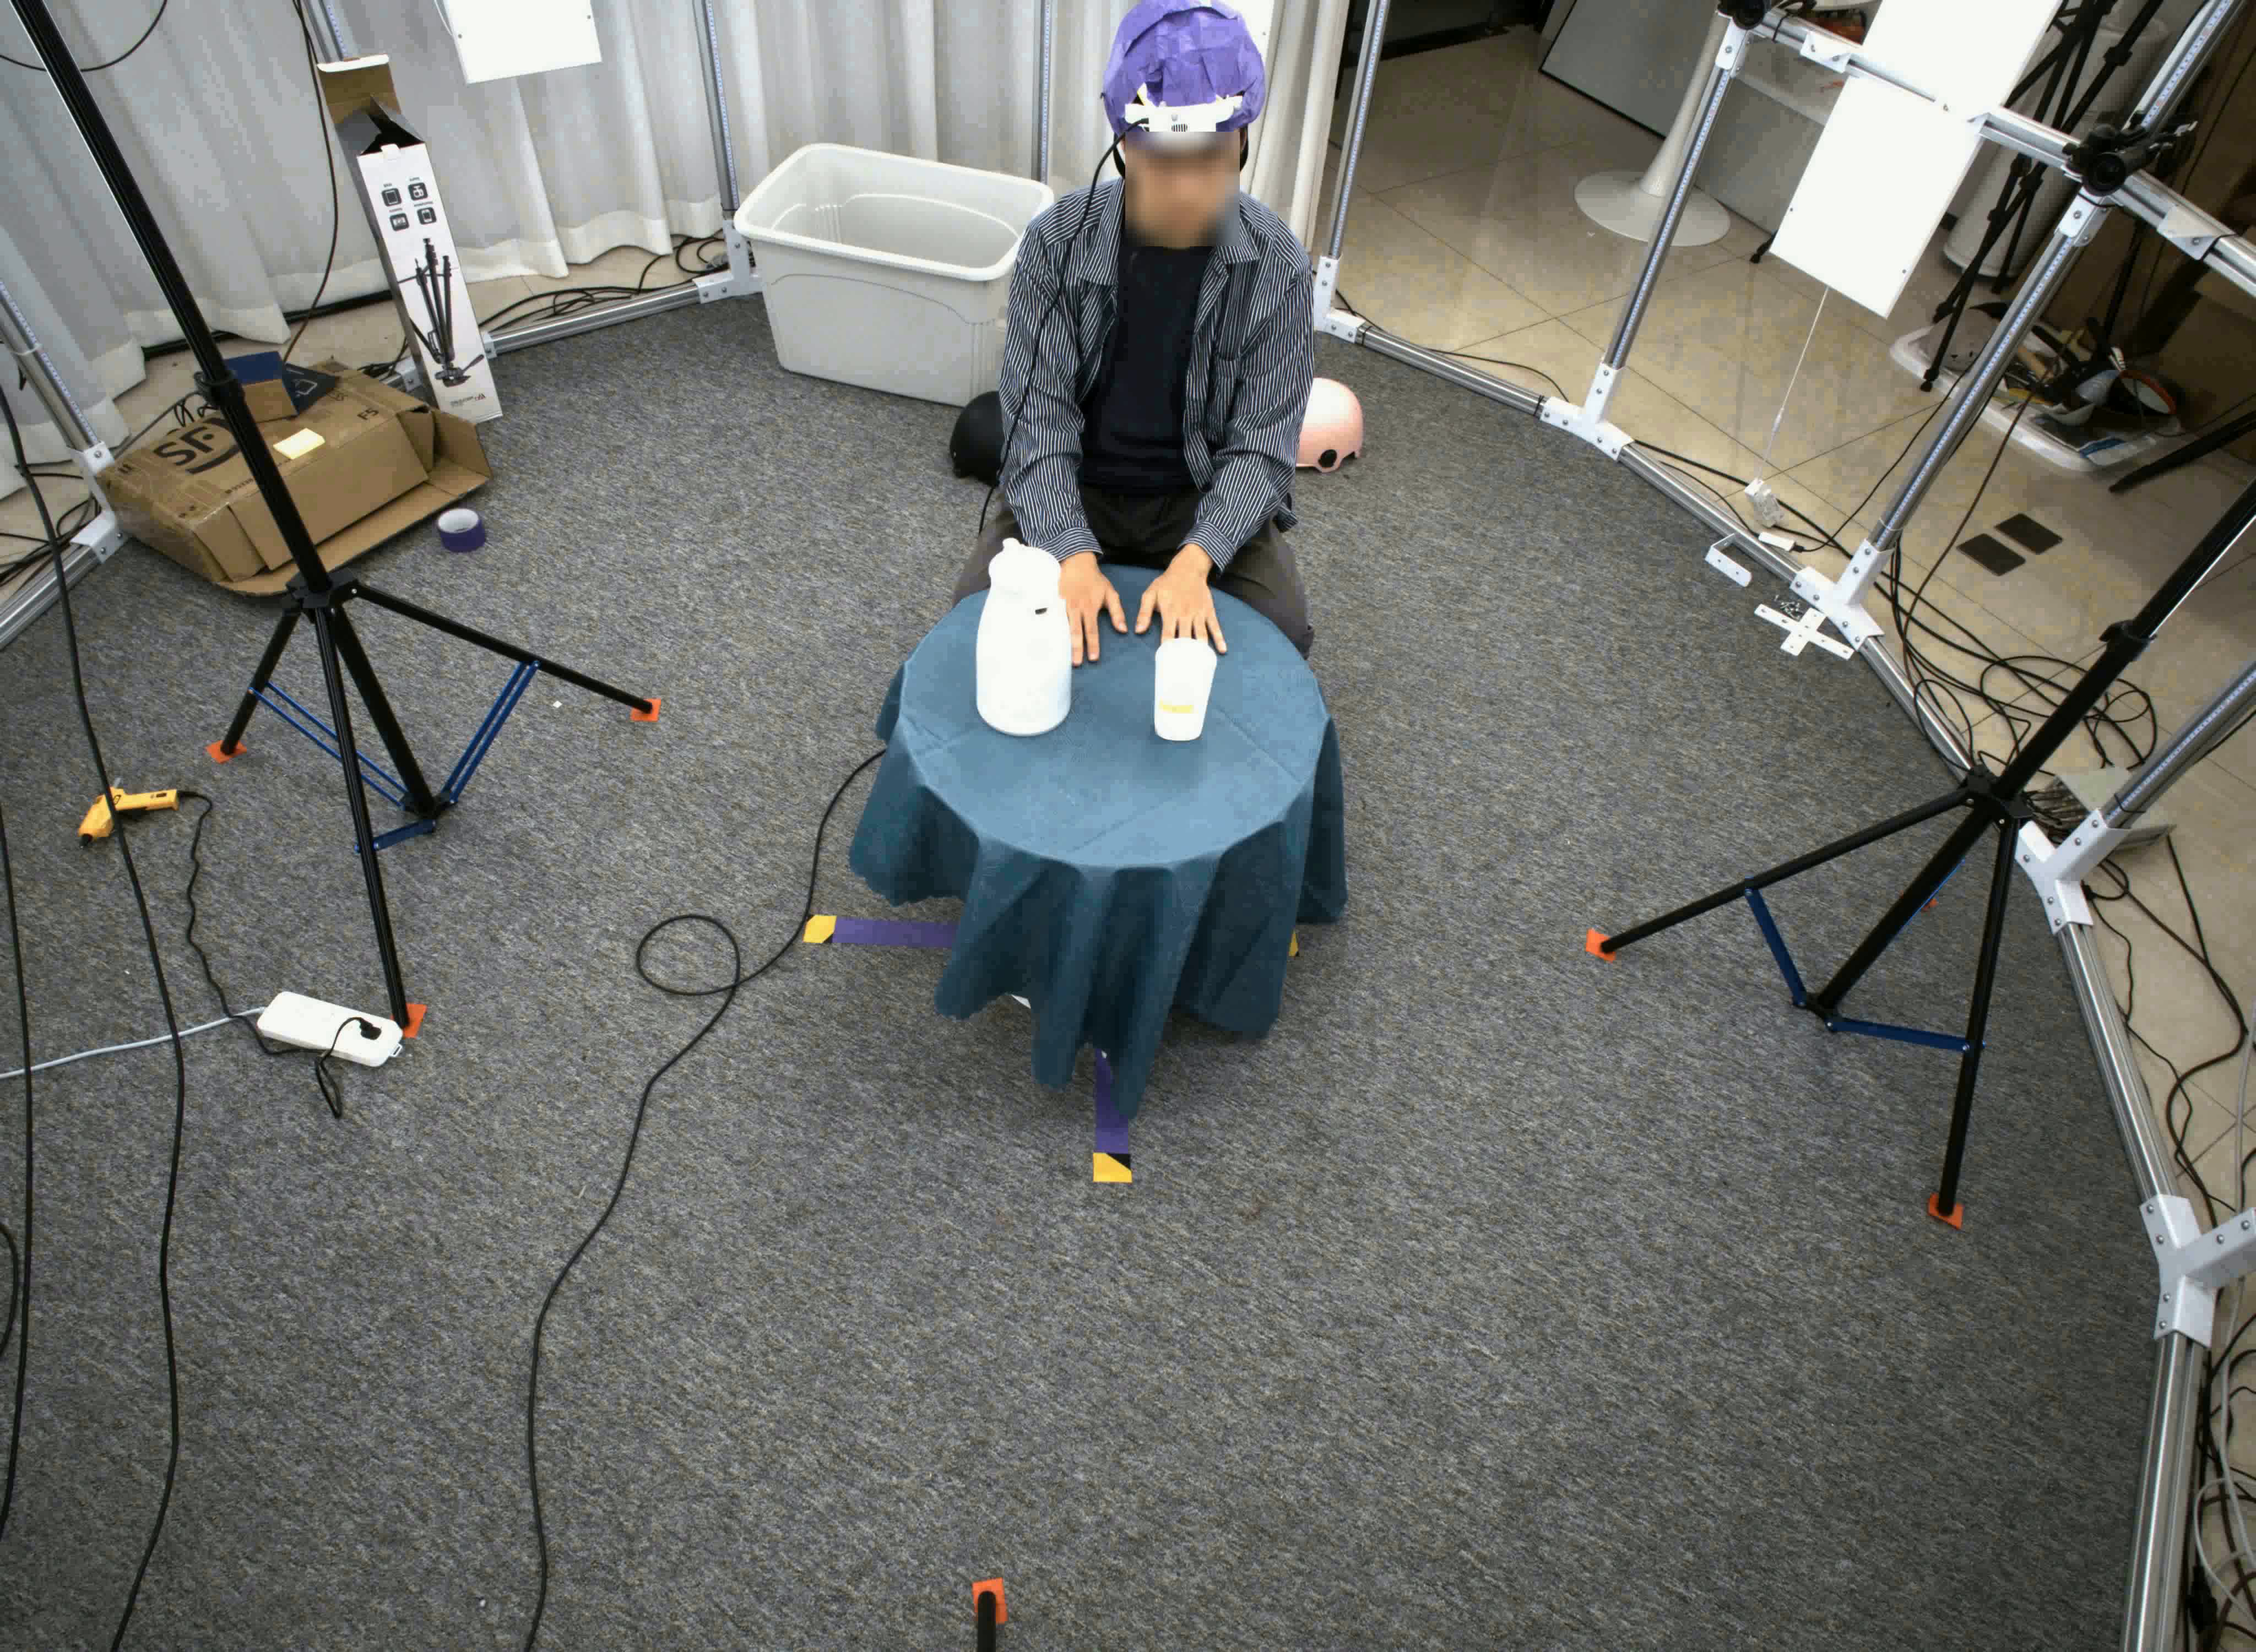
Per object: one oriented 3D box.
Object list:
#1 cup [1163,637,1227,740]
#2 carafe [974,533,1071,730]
[{"bbox_3d":[0.087,-0.182,1.741,0.081,0.122,0.084,2,49,-3],"label":"cup"},{"bbox_3d":[-0.149,-0.270,1.714,0.133,0.243,0.171,-22,56,-20],"label":"carafe"}]
